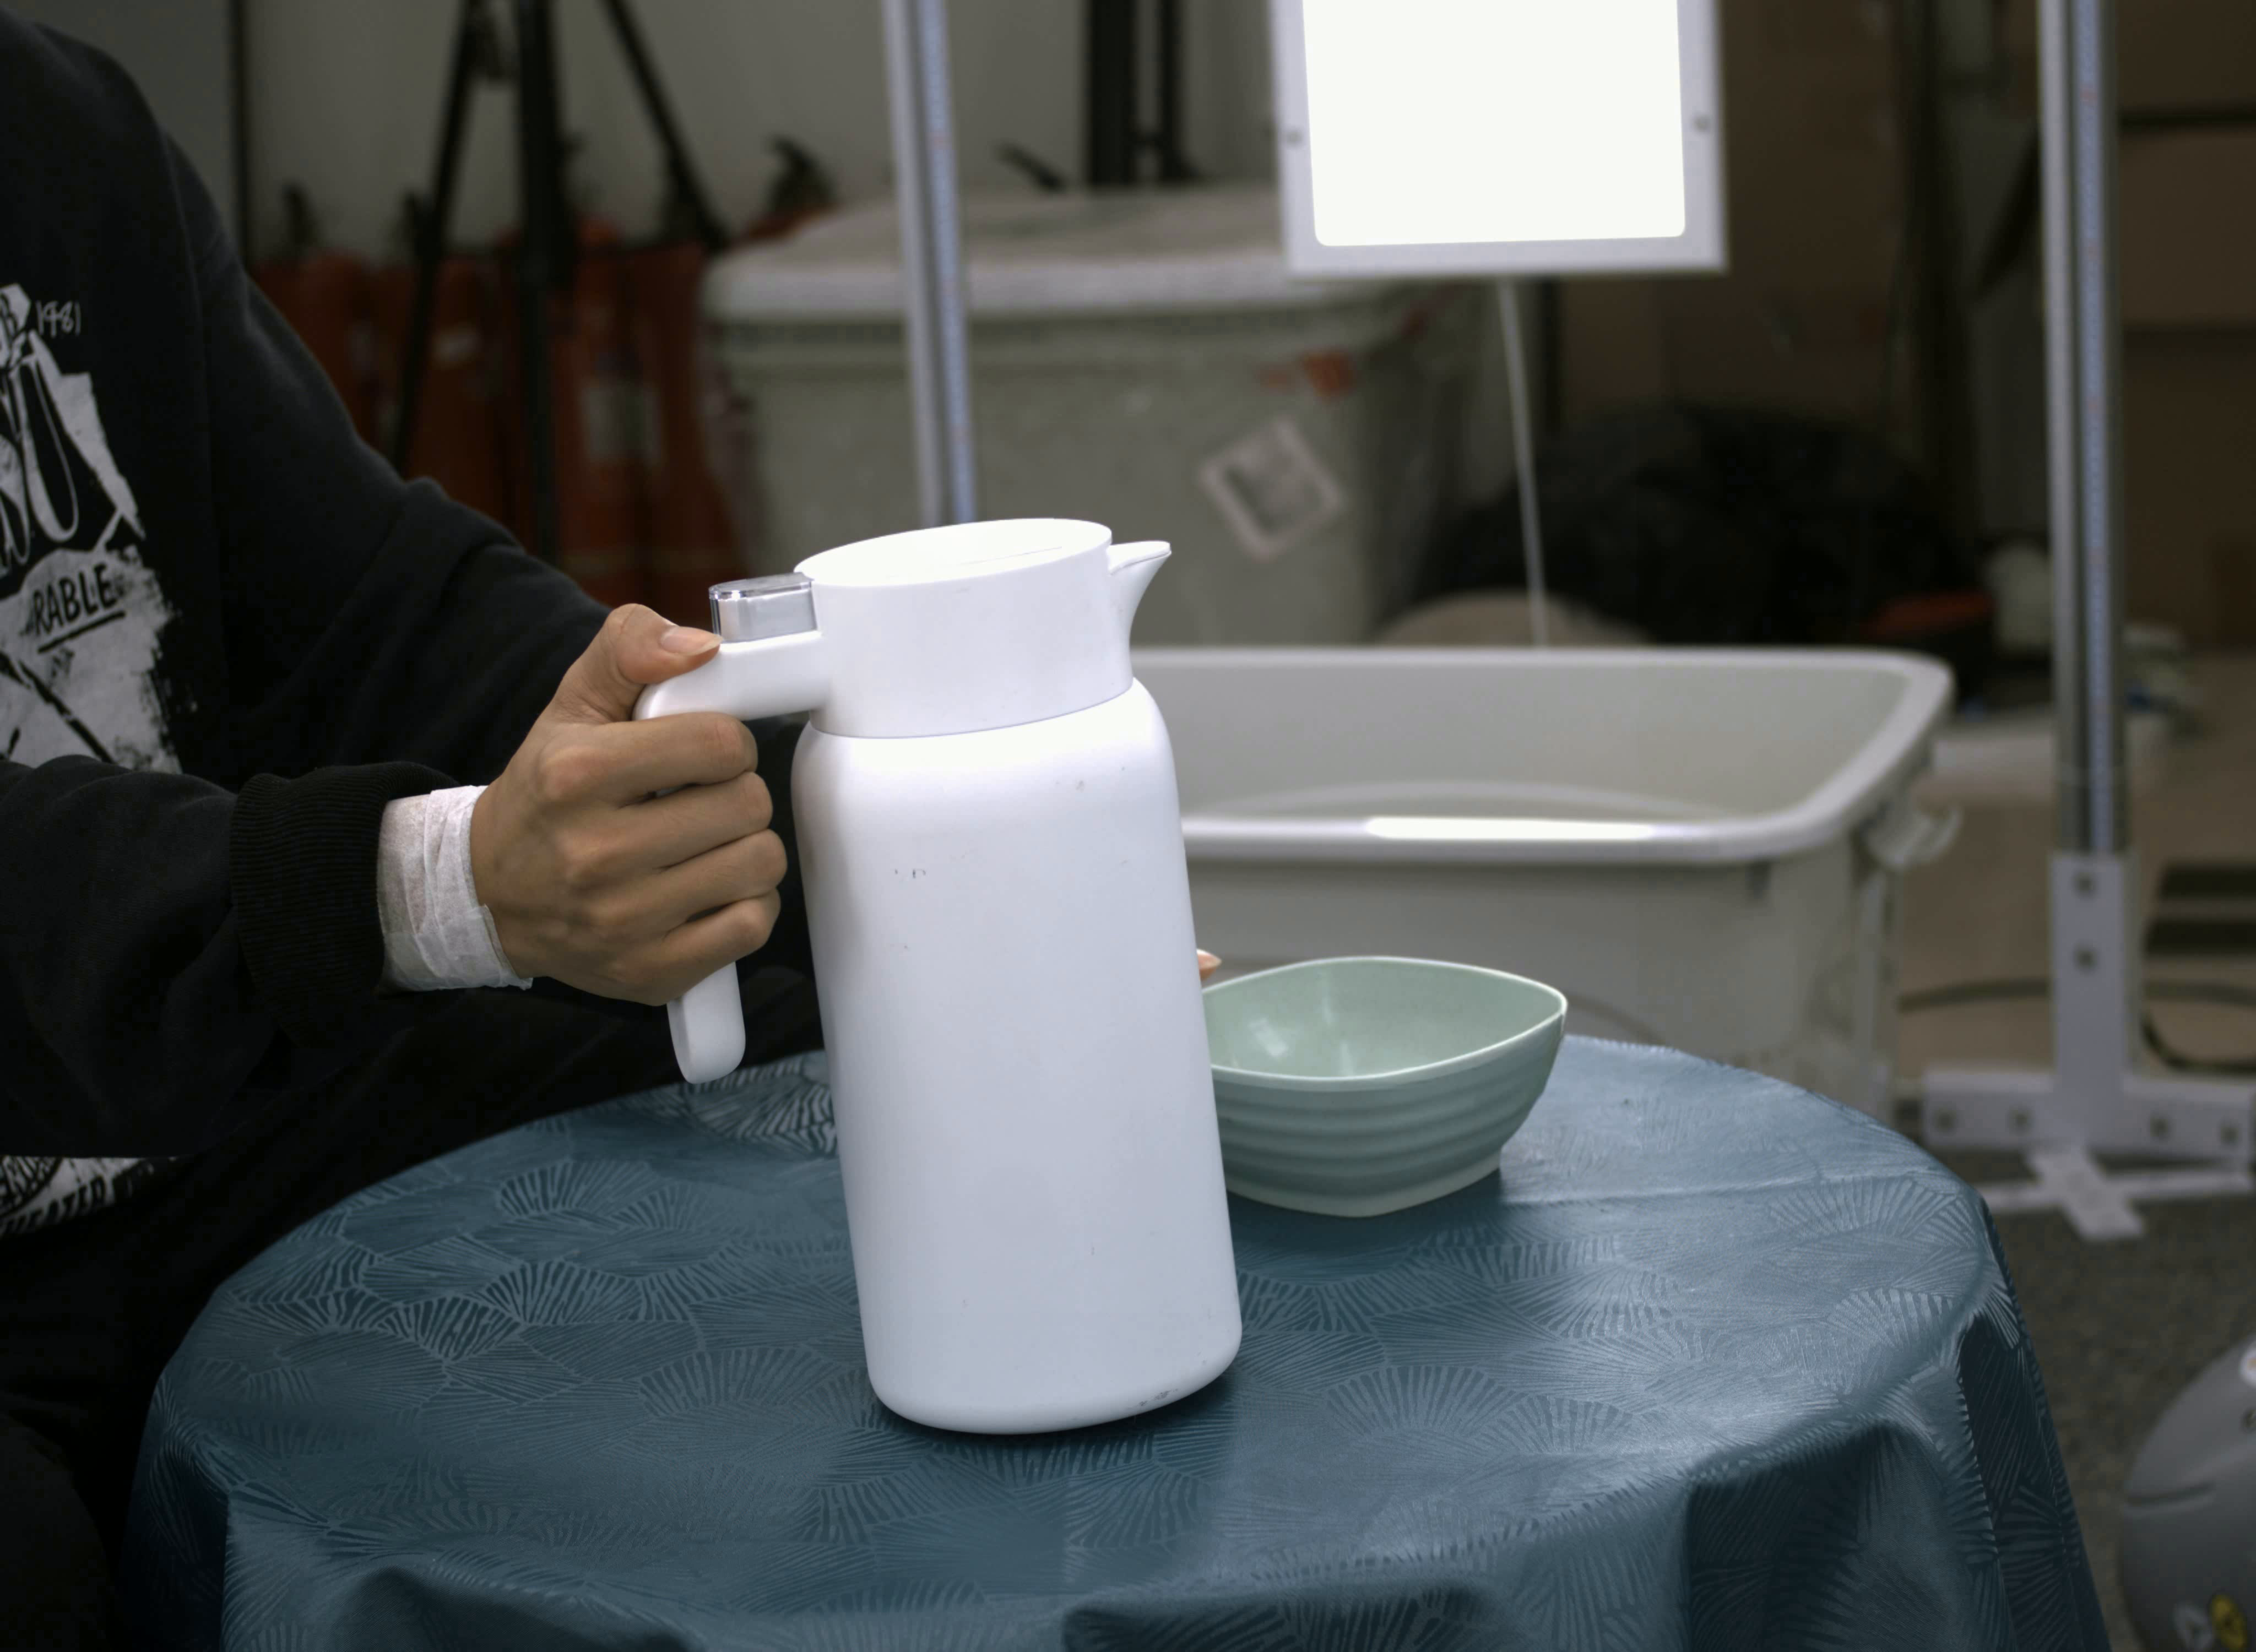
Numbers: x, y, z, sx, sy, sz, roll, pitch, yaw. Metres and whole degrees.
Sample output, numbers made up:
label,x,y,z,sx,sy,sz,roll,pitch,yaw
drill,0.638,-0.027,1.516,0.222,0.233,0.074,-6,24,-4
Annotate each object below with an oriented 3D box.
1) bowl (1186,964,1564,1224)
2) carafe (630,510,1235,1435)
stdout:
label,x,y,z,sx,sy,sz,roll,pitch,yaw
bowl,0.076,0.094,1.888,0.151,0.059,0.151,-5,14,0
carafe,-0.054,0.047,1.676,0.170,0.270,0.125,-10,14,-15
